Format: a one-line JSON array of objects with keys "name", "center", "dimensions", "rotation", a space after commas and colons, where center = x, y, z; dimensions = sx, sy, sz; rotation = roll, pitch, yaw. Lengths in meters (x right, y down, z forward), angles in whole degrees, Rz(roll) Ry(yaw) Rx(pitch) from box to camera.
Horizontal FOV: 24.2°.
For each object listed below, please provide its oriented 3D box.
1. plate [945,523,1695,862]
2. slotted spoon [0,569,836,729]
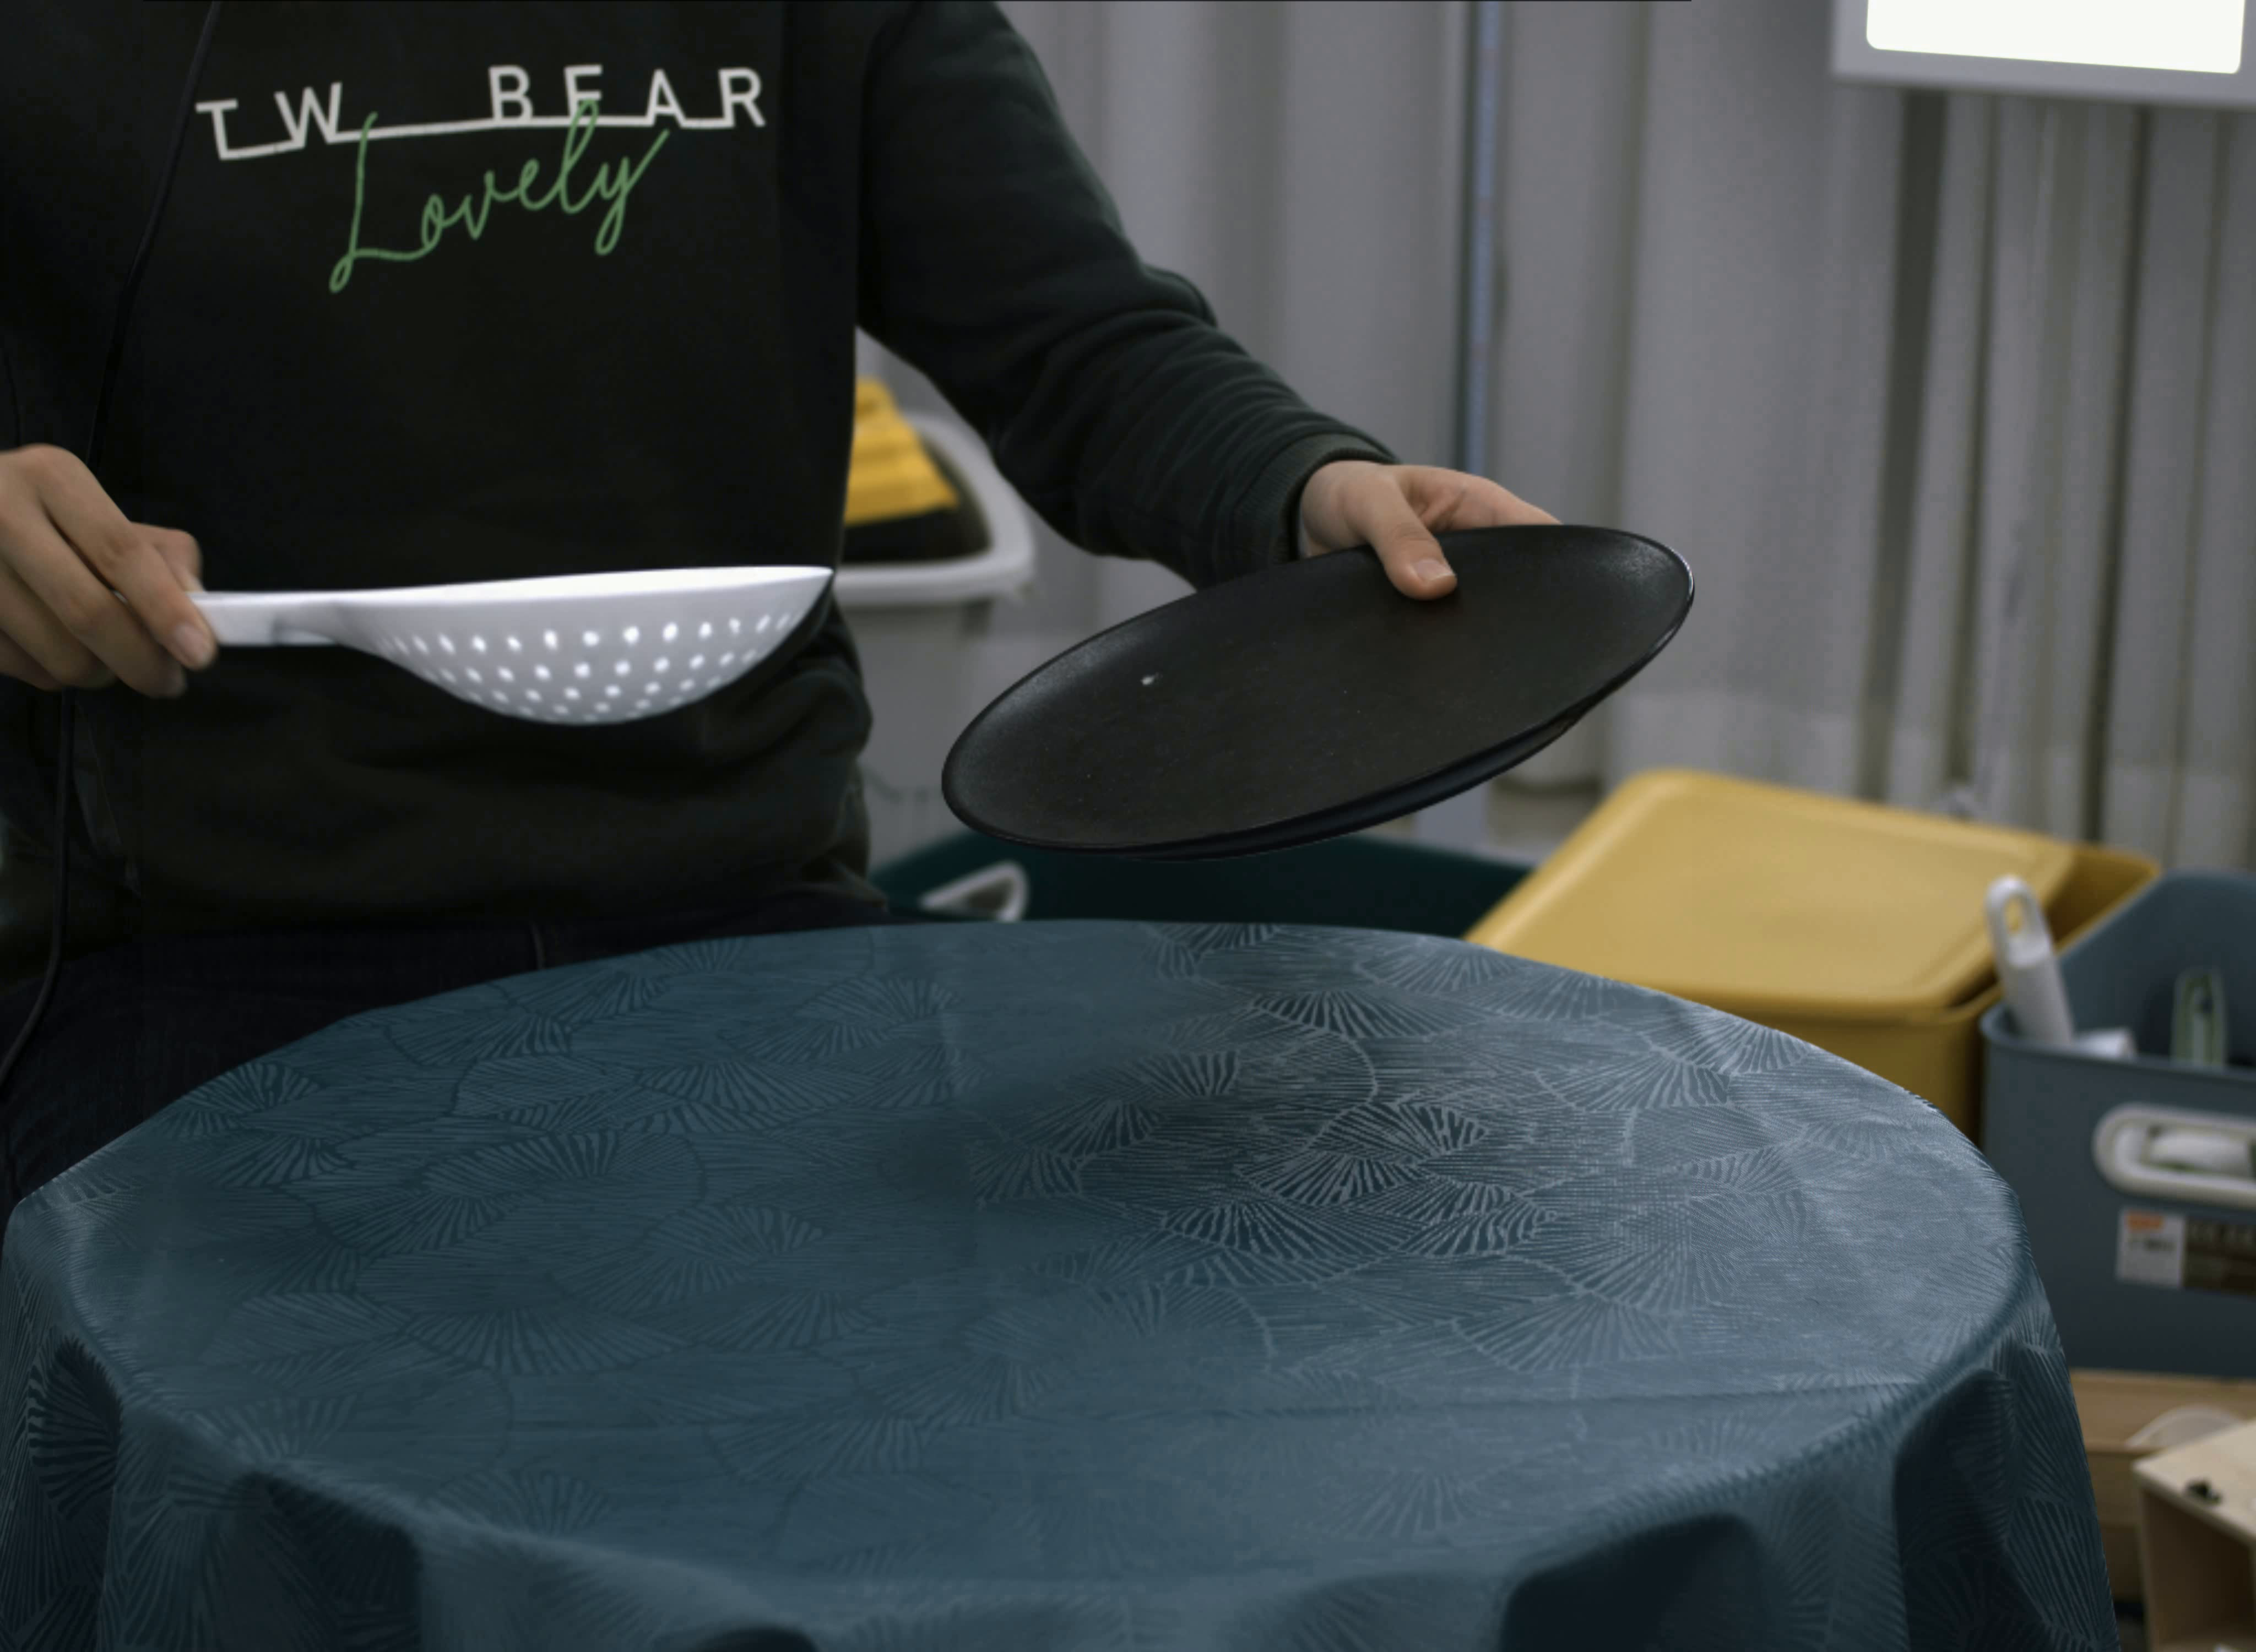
[{"name": "plate", "center": [0.061, -0.038, 1.646], "dimensions": [0.243, 0.023, 0.243], "rotation": [-15, 20, 6]}, {"name": "slotted spoon", "center": [-0.233, -0.061, 1.544], "dimensions": [0.345, 0.046, 0.137], "rotation": [7, 11, 37]}]
